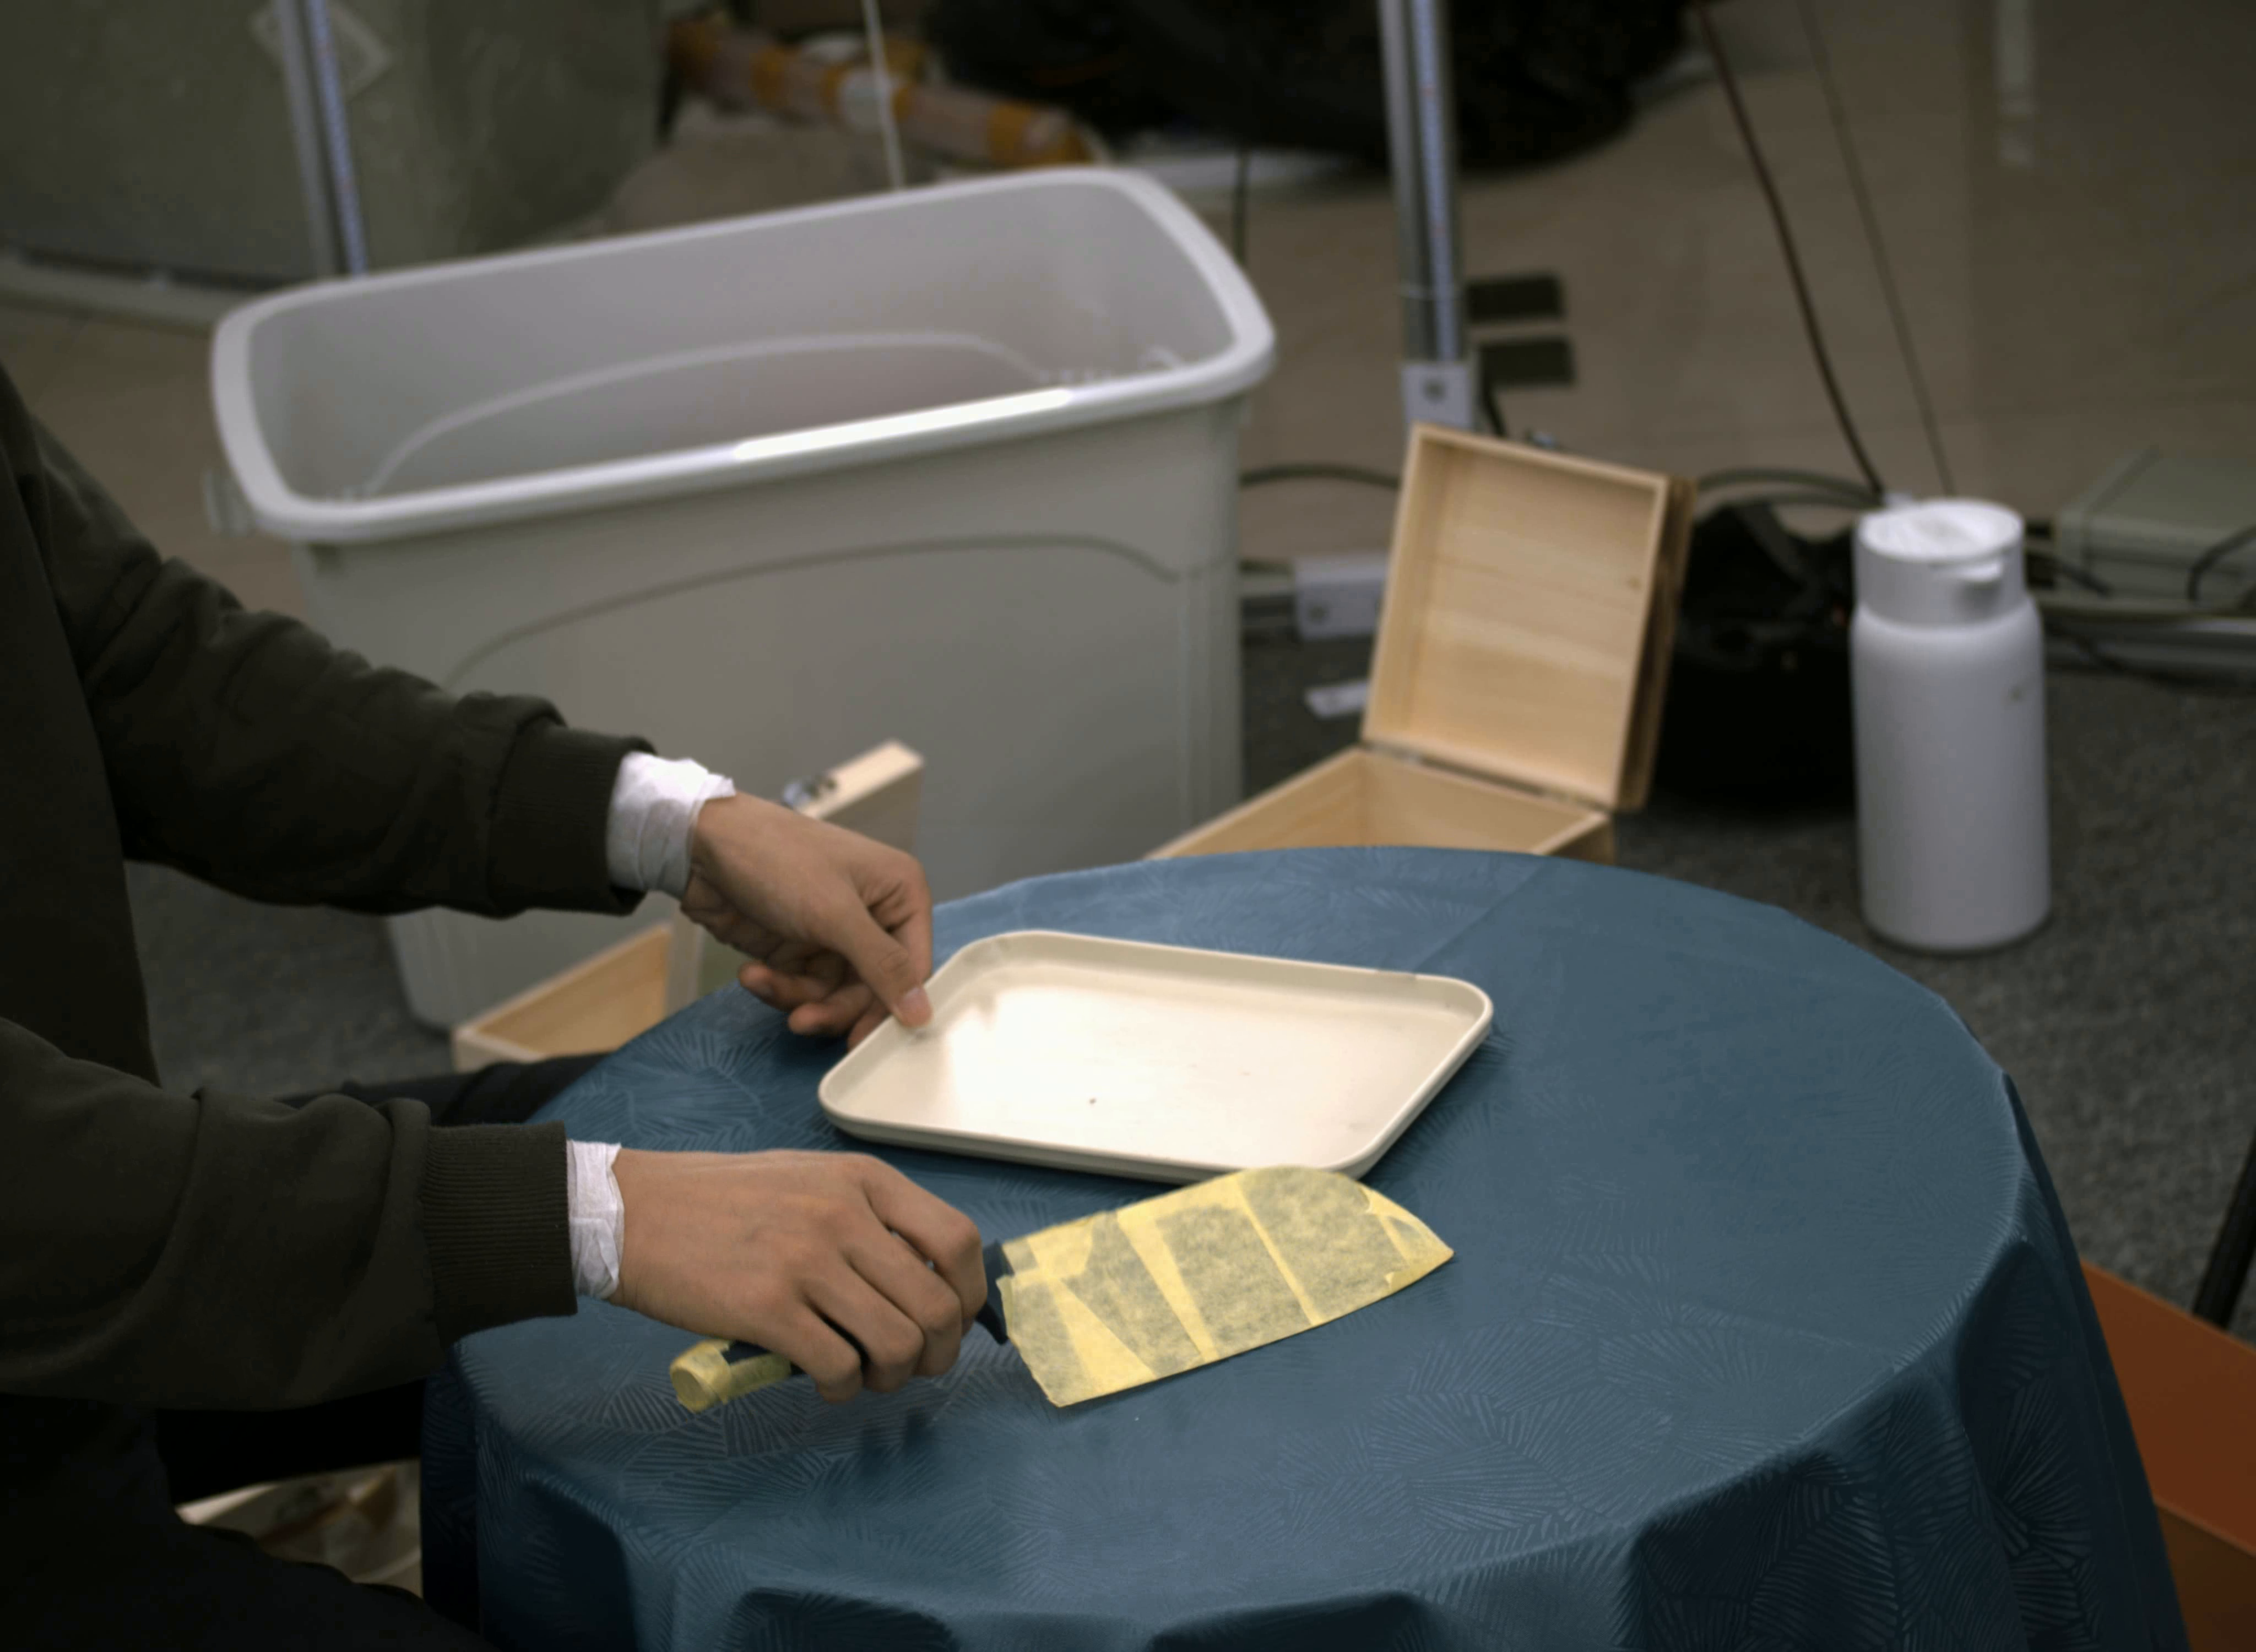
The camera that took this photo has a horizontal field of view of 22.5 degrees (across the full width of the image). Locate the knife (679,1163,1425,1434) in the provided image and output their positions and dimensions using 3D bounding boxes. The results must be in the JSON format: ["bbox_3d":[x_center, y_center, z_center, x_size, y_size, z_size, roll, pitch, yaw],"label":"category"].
[{"bbox_3d":[-0.022,0.175,2.031,0.288,0.028,0.080,-14,50,-21],"label":"knife"}]

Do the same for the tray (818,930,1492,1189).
[{"bbox_3d":[0.011,0.093,2.226,0.239,0.018,0.169,6,28,26],"label":"tray"}]
